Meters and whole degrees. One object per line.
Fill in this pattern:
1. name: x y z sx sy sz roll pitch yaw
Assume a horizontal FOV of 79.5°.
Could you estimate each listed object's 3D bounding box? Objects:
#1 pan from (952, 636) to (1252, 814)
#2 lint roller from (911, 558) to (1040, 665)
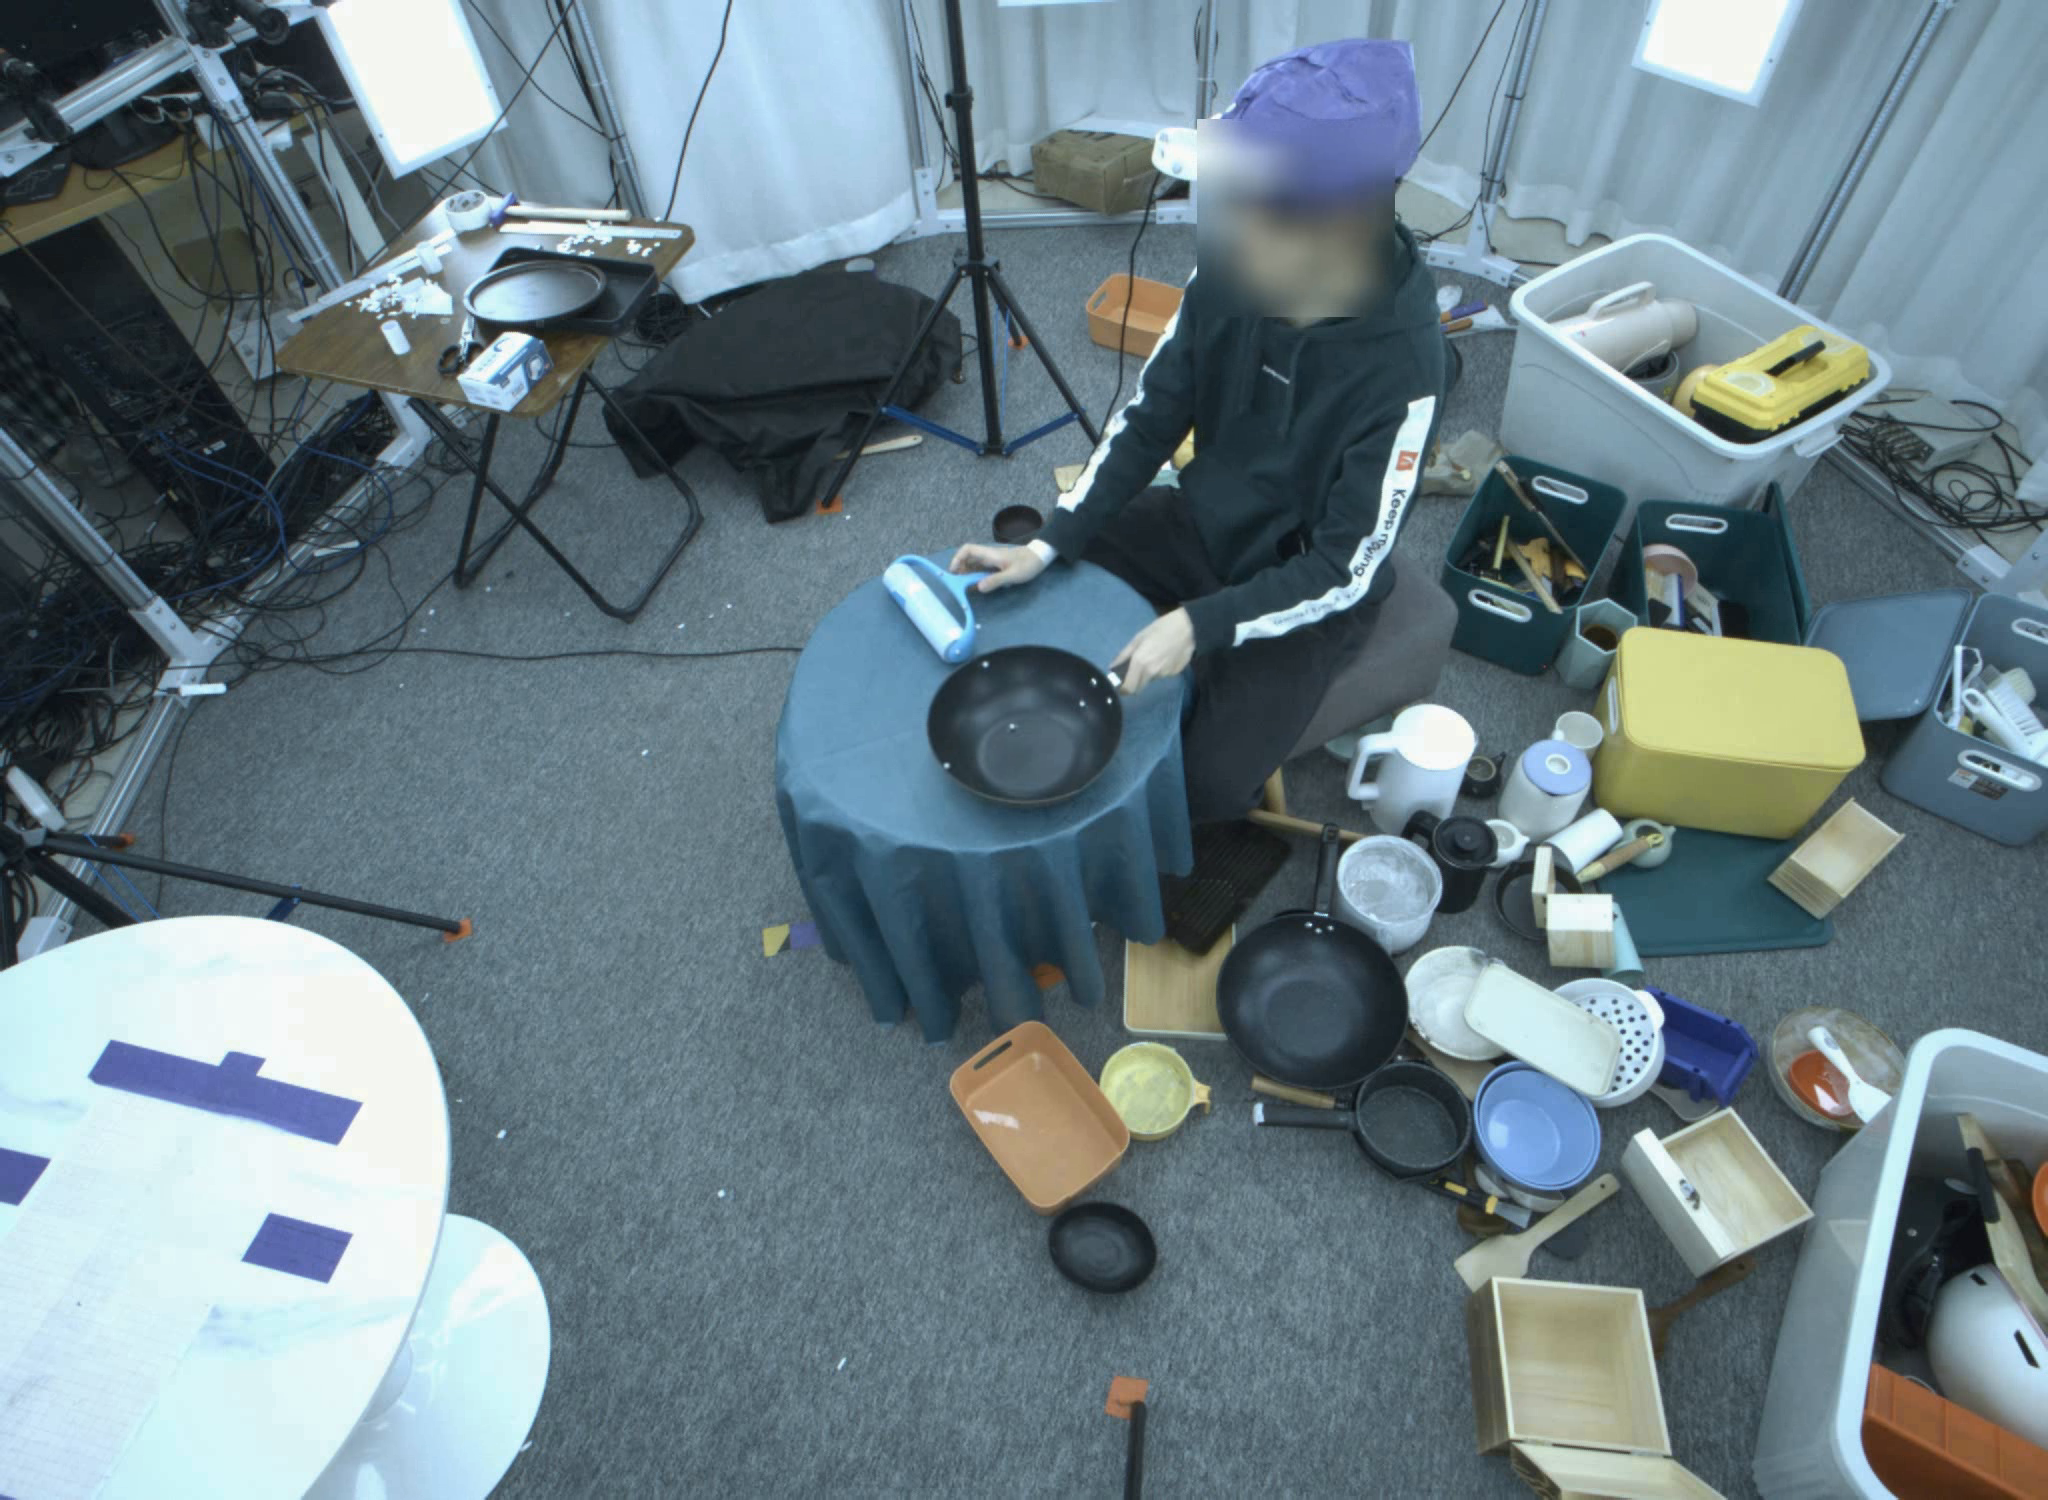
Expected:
1. pan: 0.121 -0.052 1.766 0.467 0.088 0.283 -25 58 -16
2. lint roller: -0.058 -0.242 1.922 0.181 0.069 0.224 -31 57 -17
